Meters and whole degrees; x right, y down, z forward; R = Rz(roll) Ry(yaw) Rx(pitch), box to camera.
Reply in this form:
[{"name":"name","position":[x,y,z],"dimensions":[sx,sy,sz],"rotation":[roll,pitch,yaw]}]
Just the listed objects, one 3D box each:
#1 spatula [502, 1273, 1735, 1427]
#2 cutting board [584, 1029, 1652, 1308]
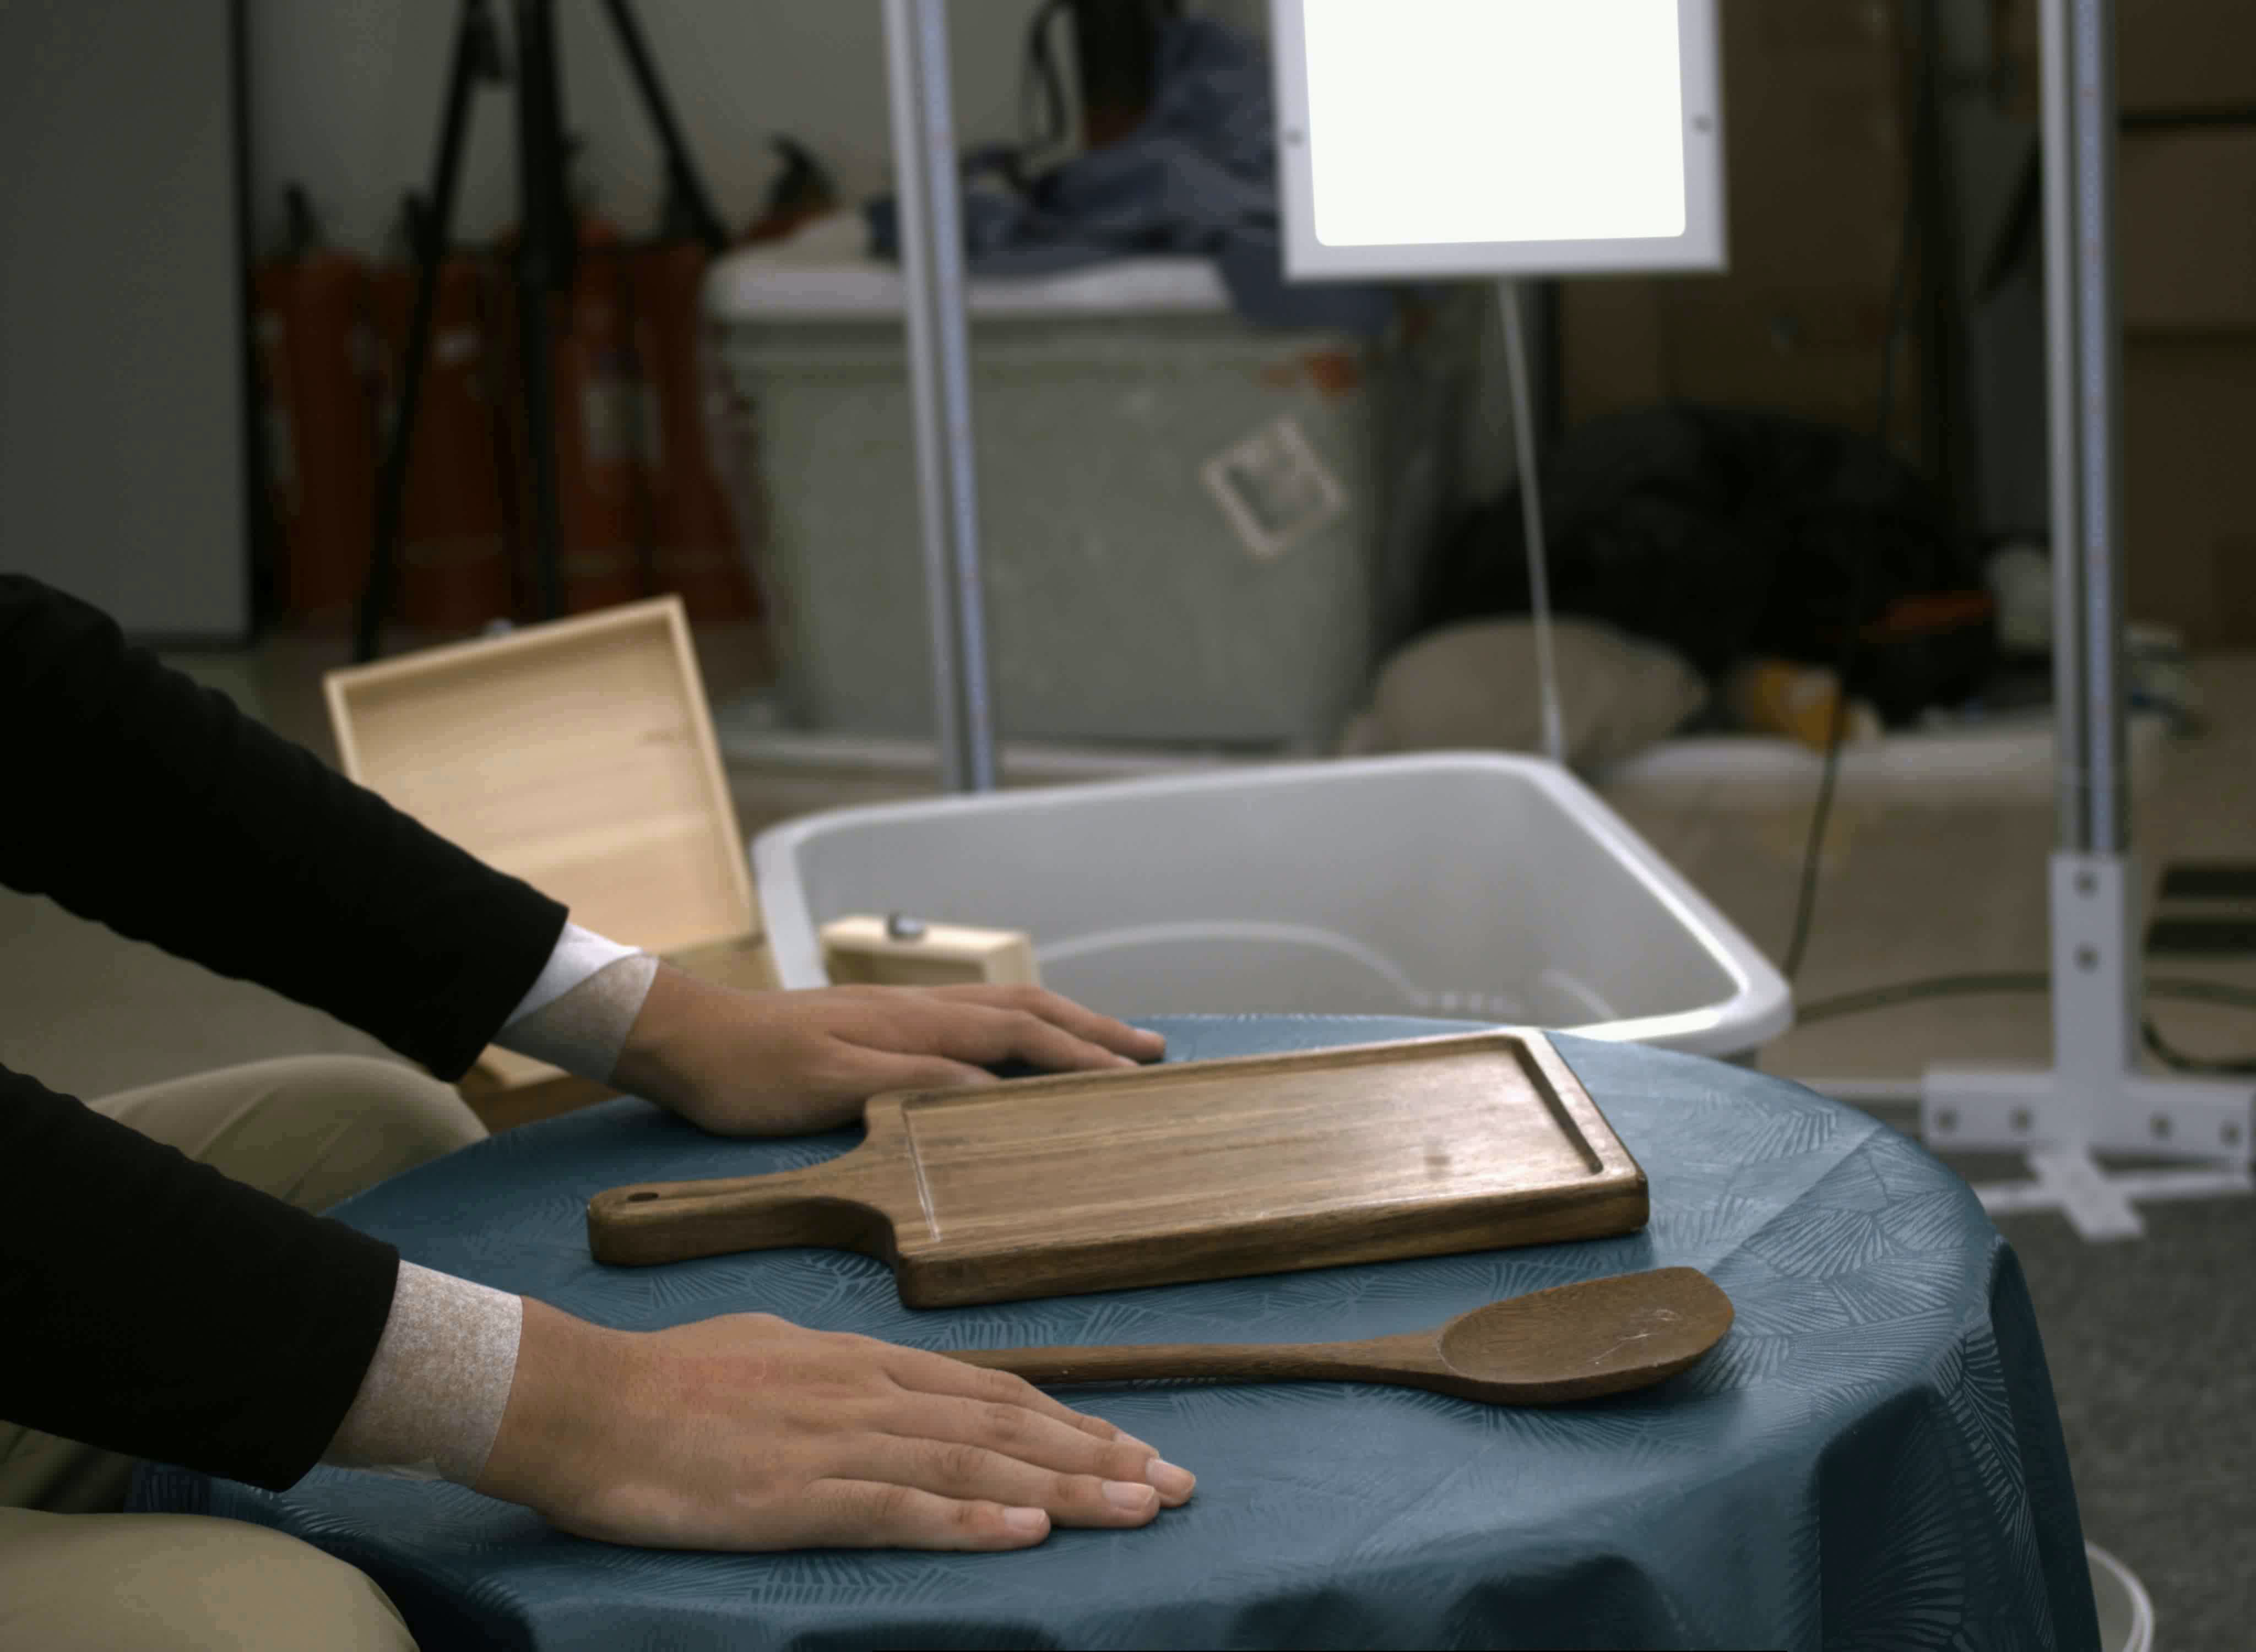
[{"name":"spatula","position":[-0.005,0.167,1.706],"dimensions":[0.387,0.016,0.095],"rotation":[-4,13,7]},{"name":"cutting board","position":[-0.011,0.120,1.887],"dimensions":[0.350,0.023,0.201],"rotation":[-6,13,-4]}]
